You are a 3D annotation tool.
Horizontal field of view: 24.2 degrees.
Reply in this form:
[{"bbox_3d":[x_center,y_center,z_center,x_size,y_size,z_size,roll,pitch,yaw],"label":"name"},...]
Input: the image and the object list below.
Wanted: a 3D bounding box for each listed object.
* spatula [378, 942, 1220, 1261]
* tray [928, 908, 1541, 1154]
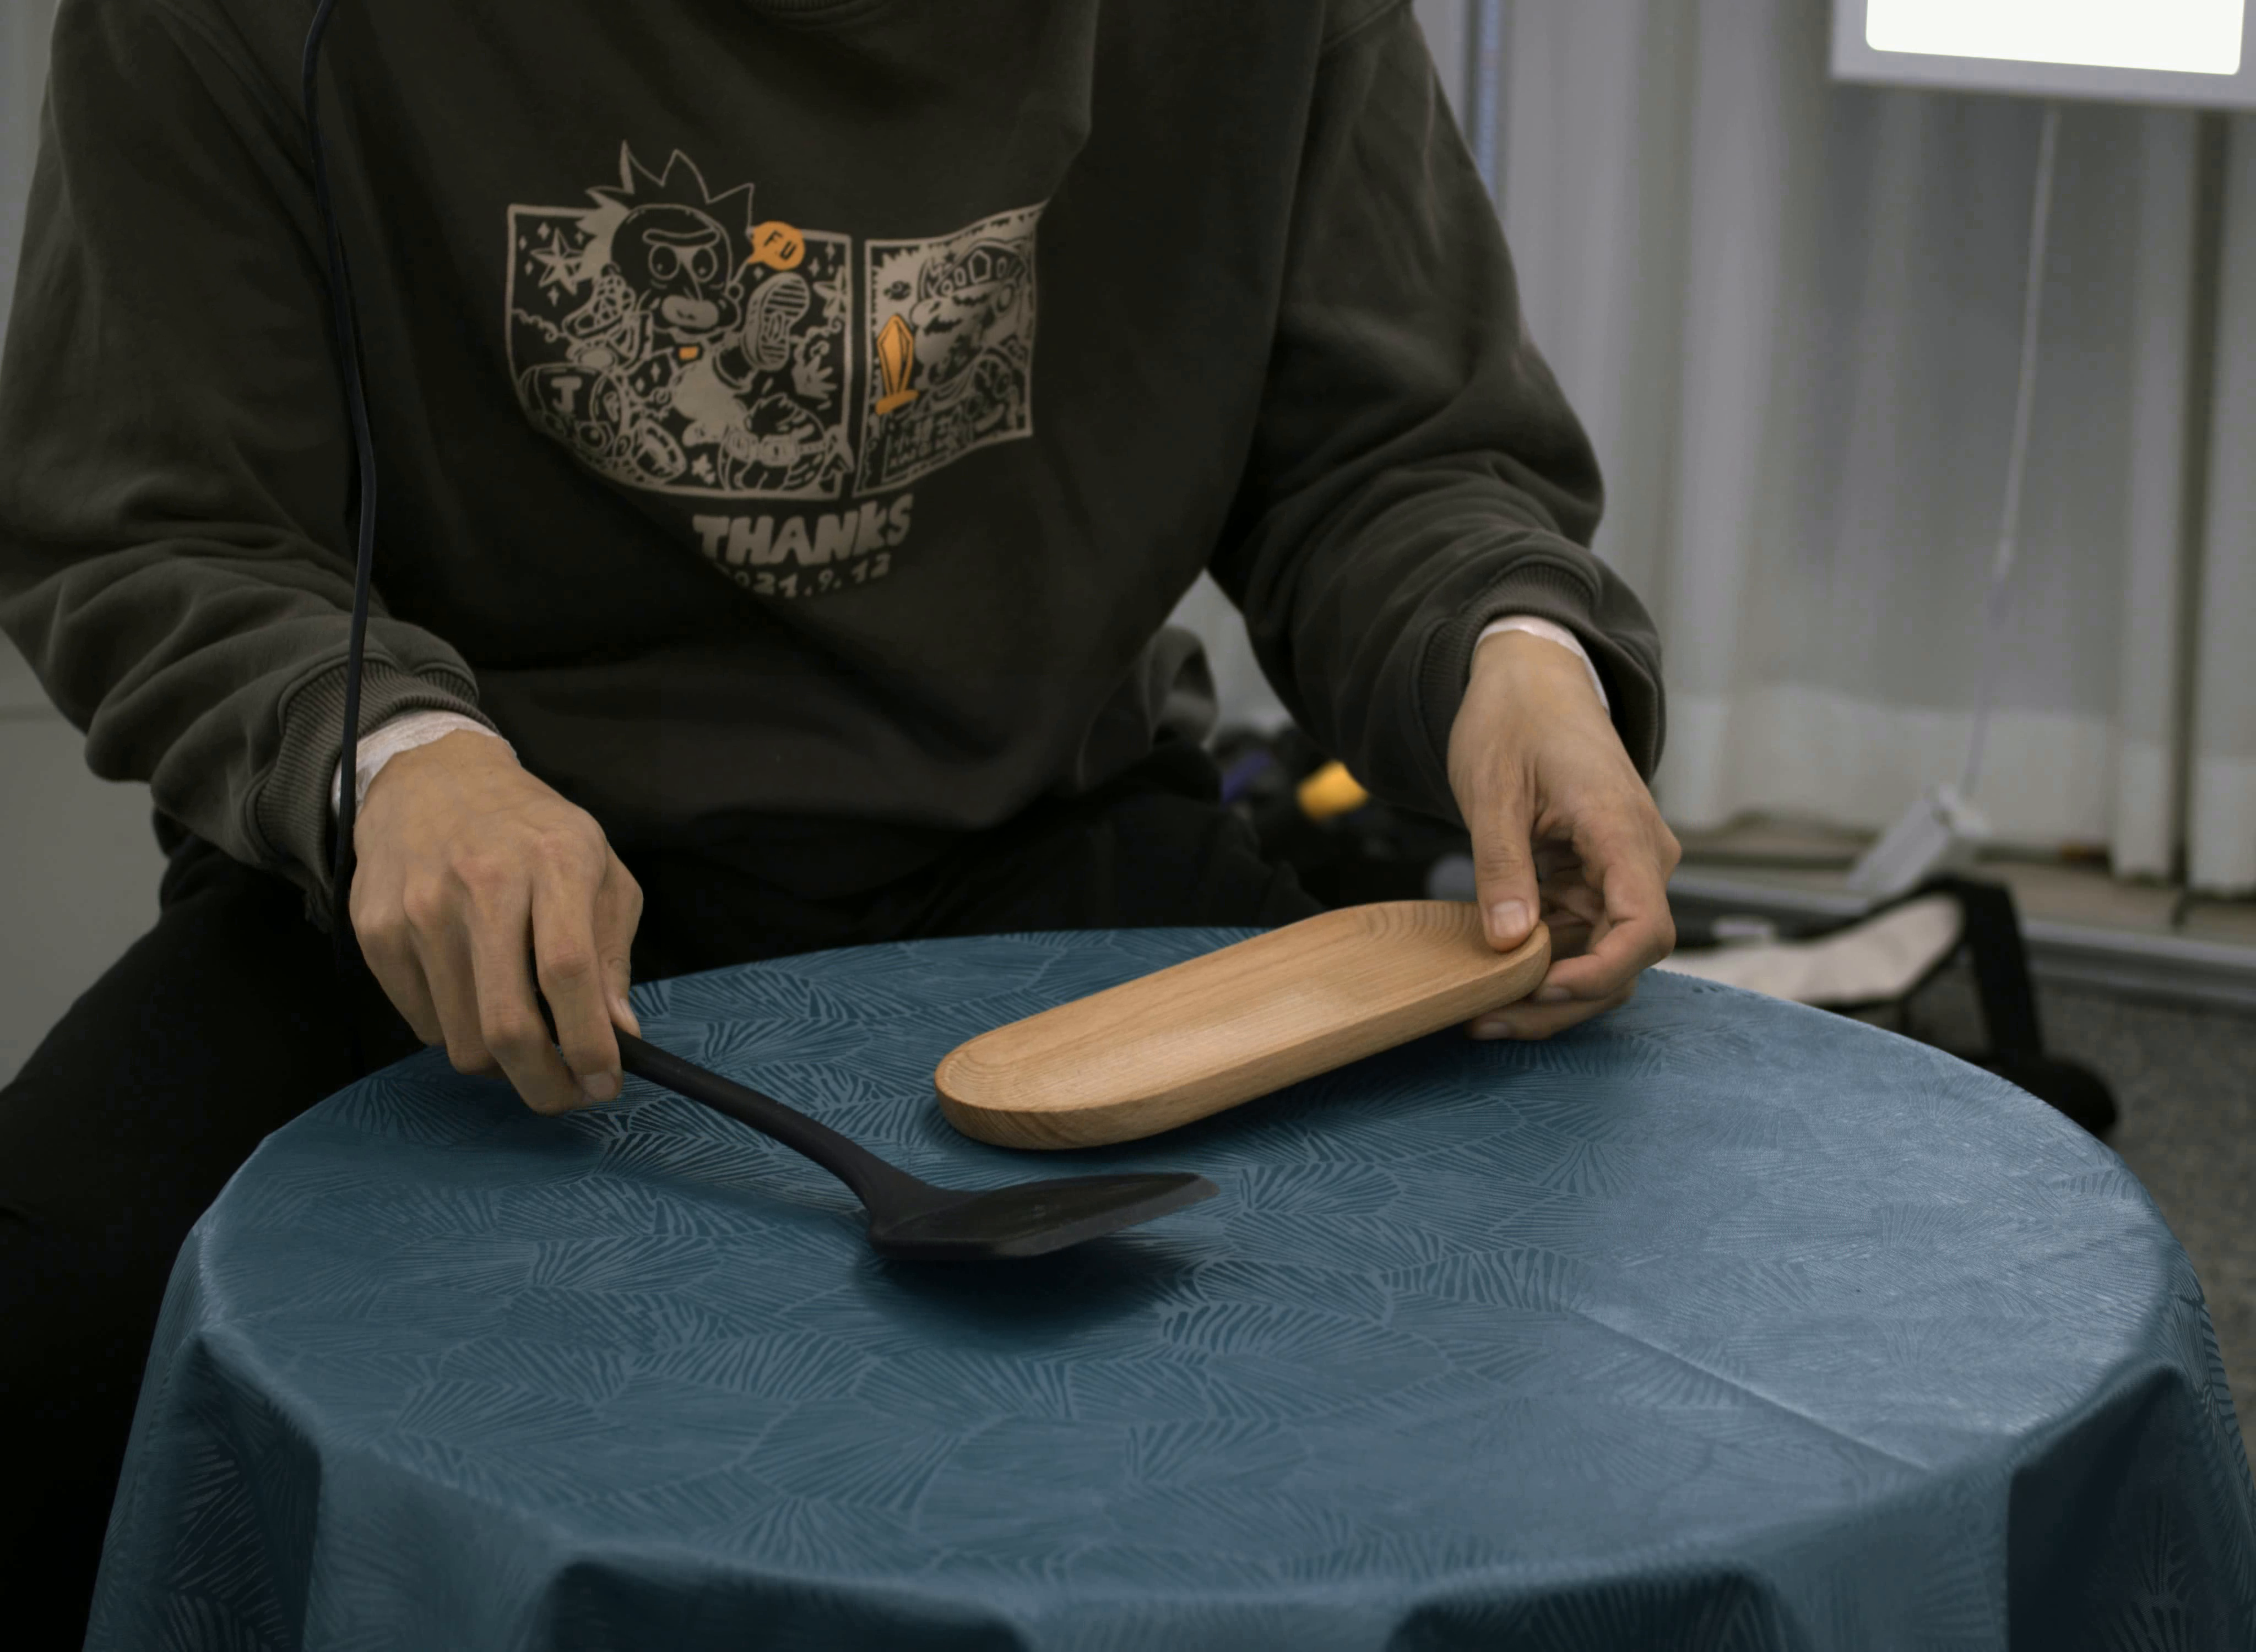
[{"bbox_3d":[-0.120,0.080,1.628,0.322,0.040,0.100,24,23,35],"label":"spatula"},{"bbox_3d":[0.037,0.066,1.732,0.232,0.020,0.100,-19,20,-35],"label":"tray"}]
